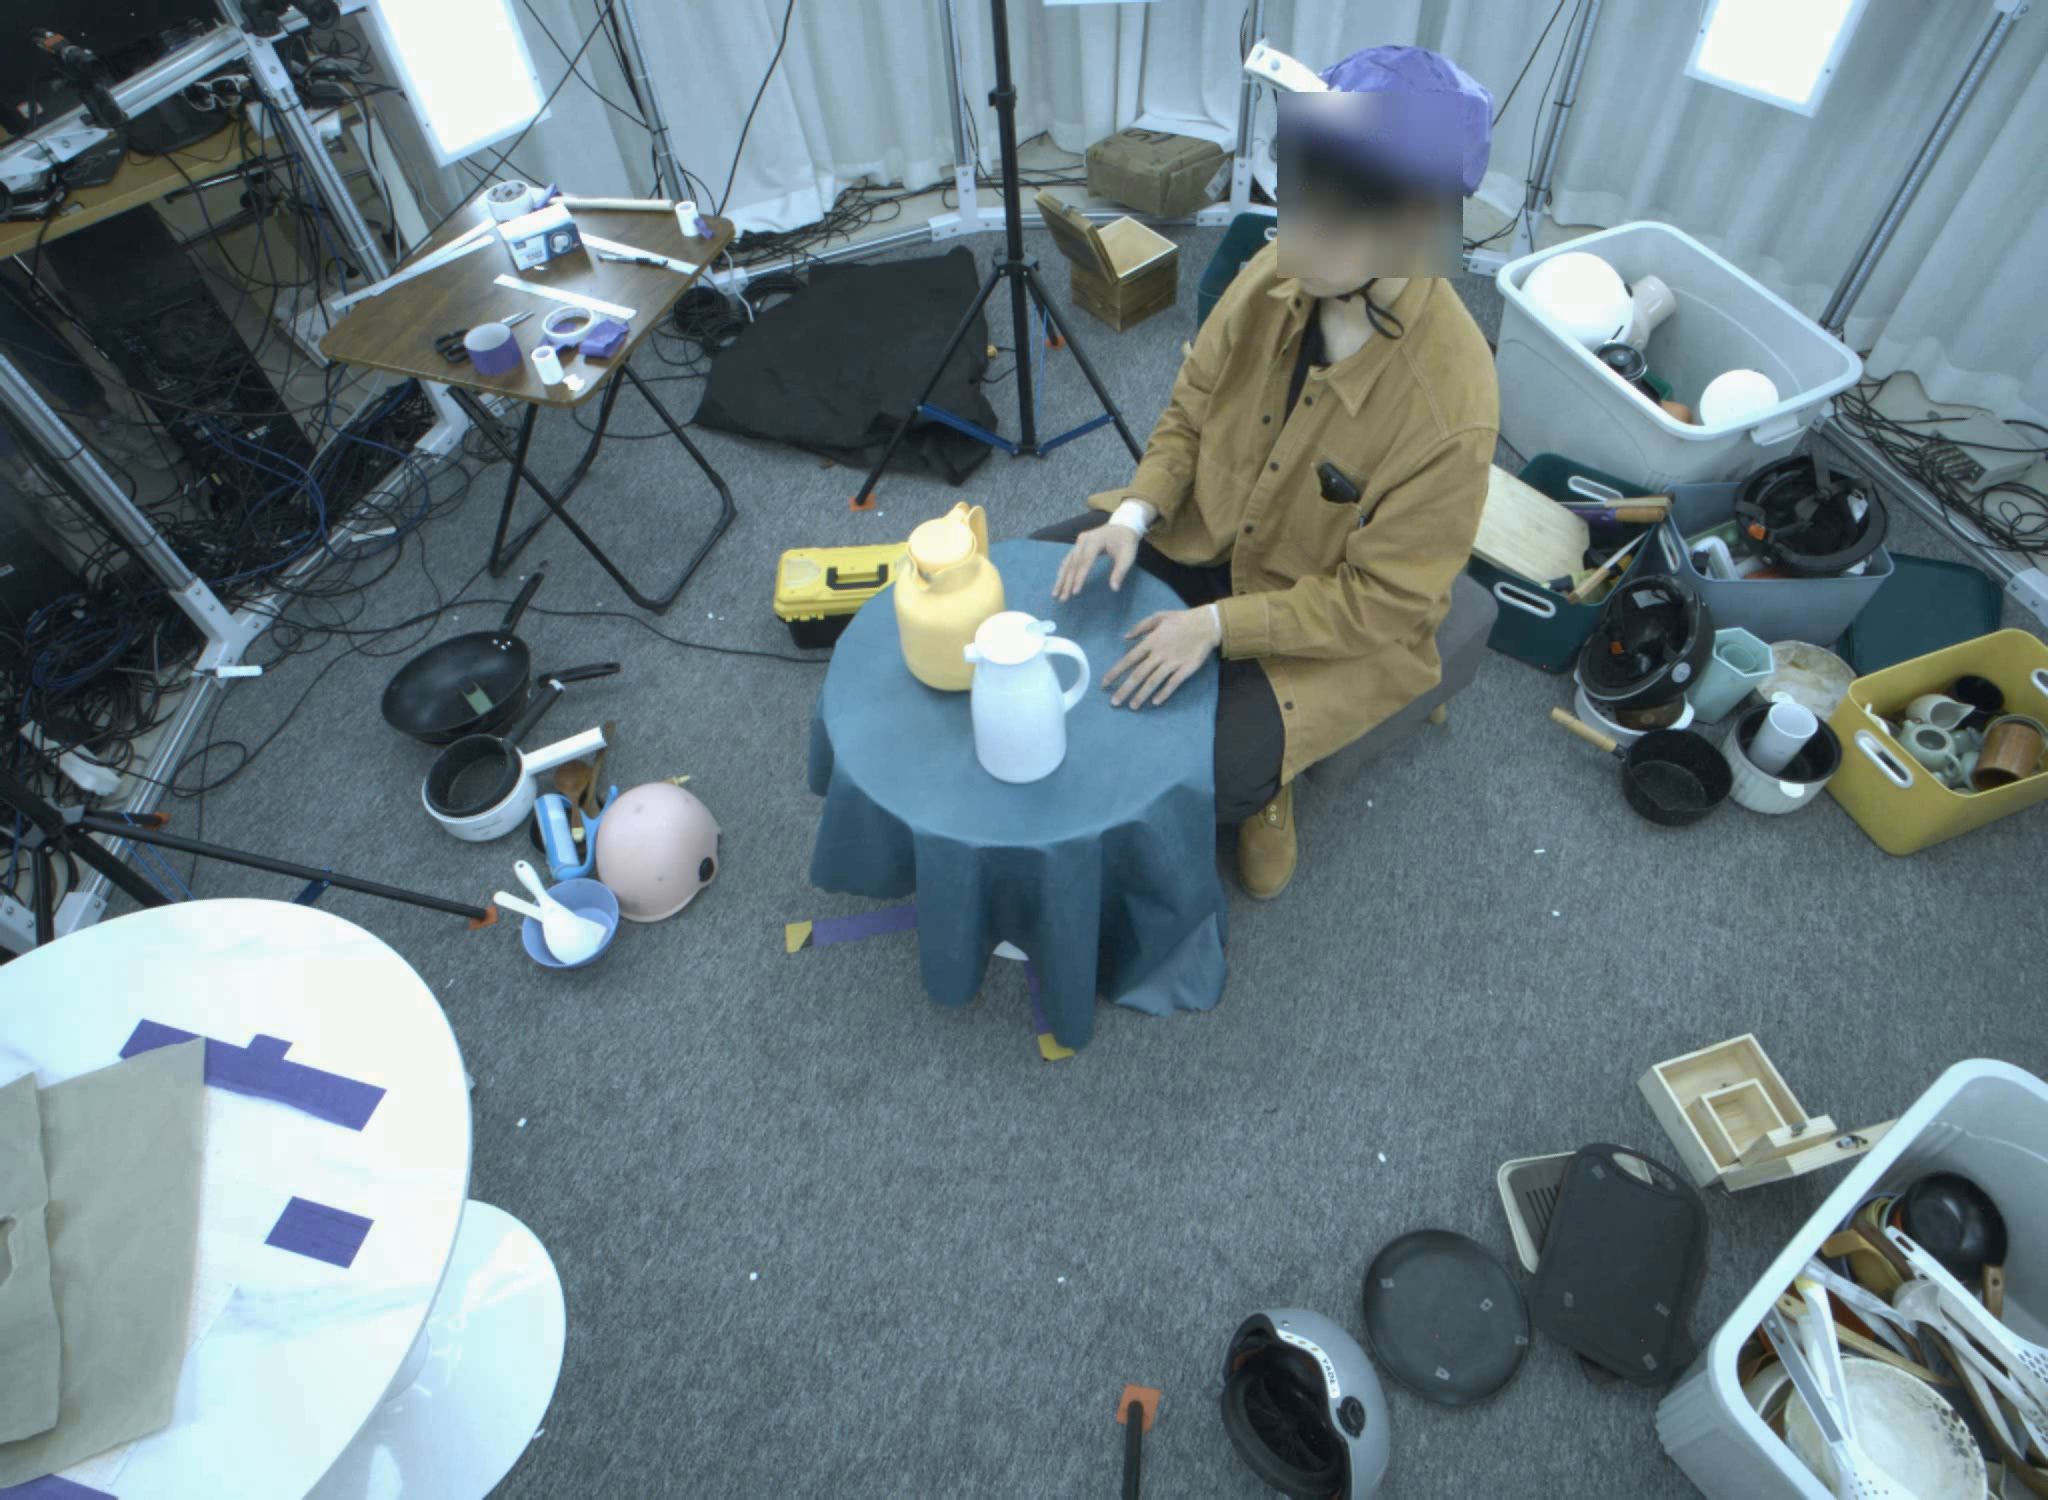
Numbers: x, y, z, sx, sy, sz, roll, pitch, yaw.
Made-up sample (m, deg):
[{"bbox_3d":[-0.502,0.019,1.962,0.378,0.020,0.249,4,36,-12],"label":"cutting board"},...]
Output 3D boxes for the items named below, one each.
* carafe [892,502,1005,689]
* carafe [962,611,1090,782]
[{"bbox_3d":[-0.101,-0.231,1.791,0.162,0.263,0.202,19,59,14],"label":"carafe"},{"bbox_3d":[0.007,-0.083,1.688,0.168,0.251,0.130,-10,54,-4],"label":"carafe"}]
